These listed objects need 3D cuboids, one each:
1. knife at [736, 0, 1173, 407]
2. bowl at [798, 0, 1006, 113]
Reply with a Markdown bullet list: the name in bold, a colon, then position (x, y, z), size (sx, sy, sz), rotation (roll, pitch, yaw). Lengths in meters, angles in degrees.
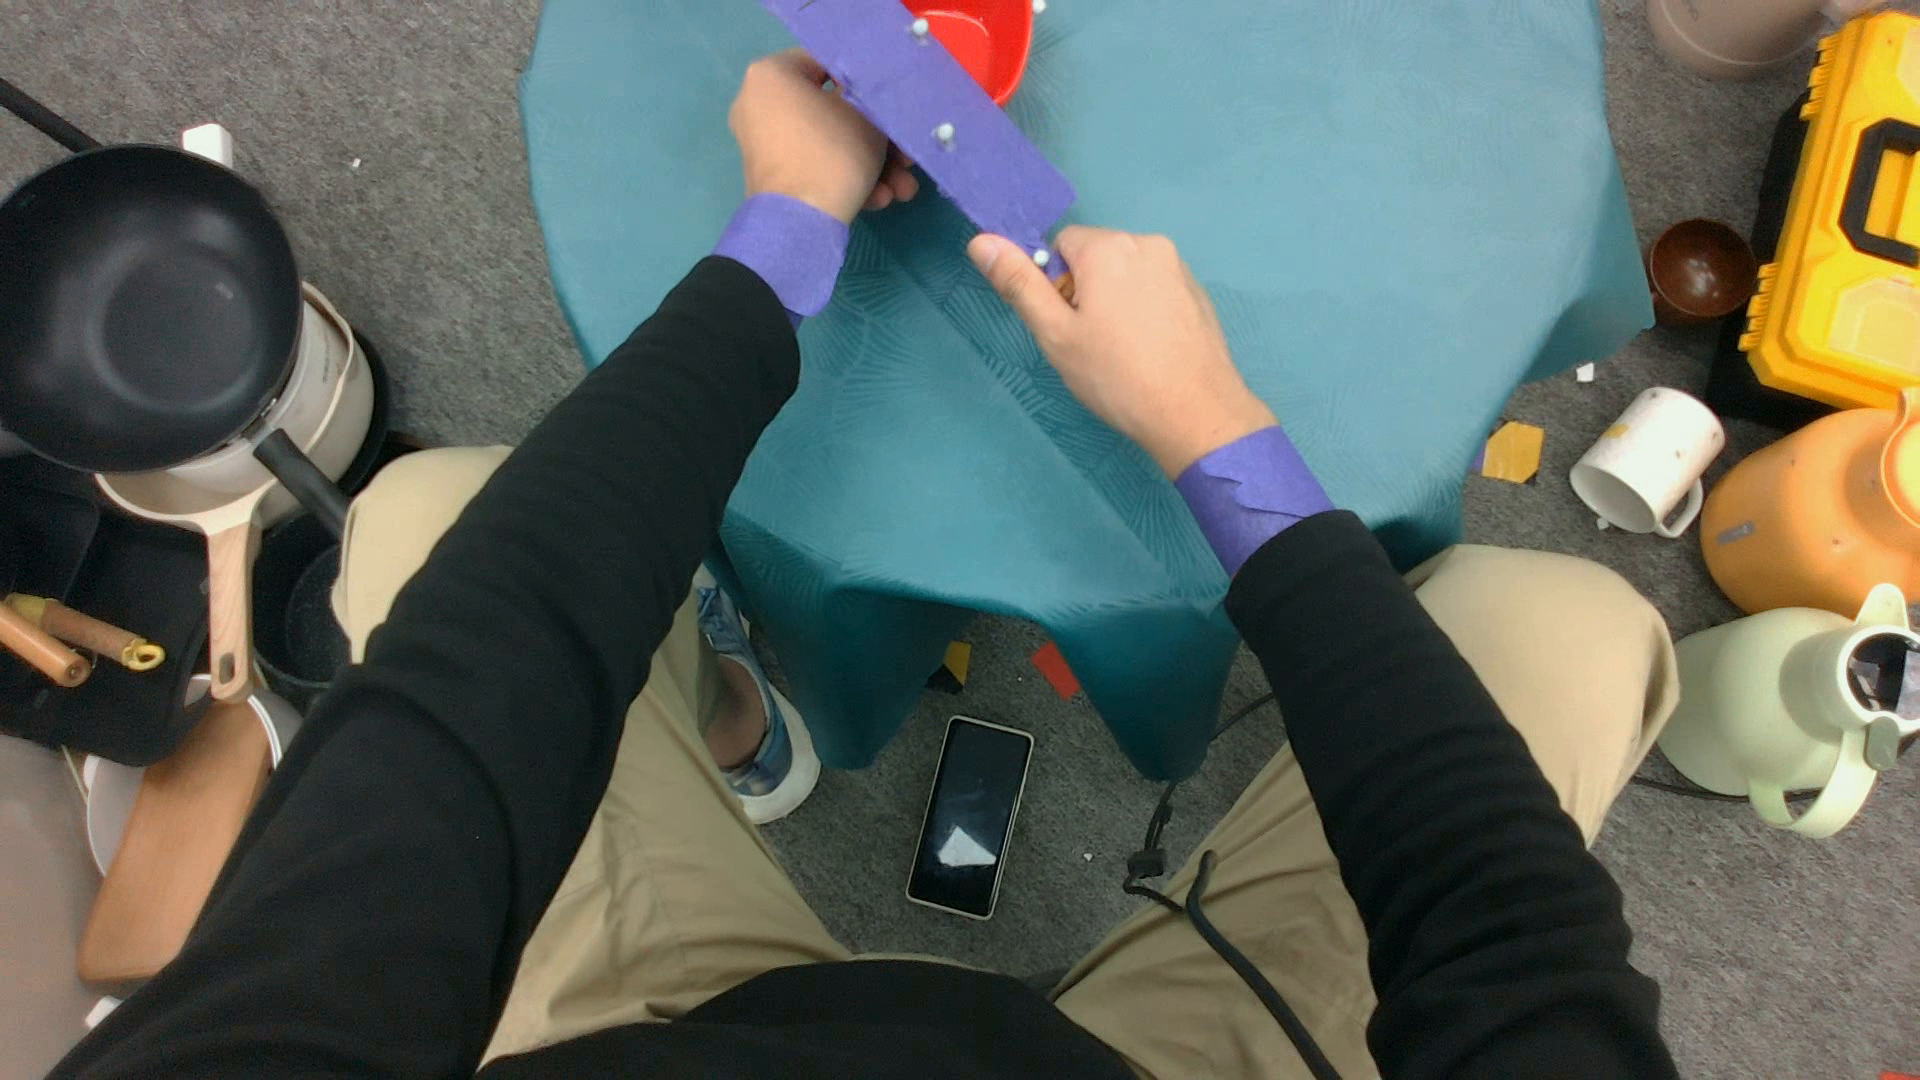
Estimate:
- **knife**: position (-0.003, -0.199, 0.678), size (0.315, 0.032, 0.104), rotation (44, 44, -11)
- **bowl**: position (-0.030, -0.273, 0.747), size (0.119, 0.051, 0.119), rotation (0, 76, 1)
